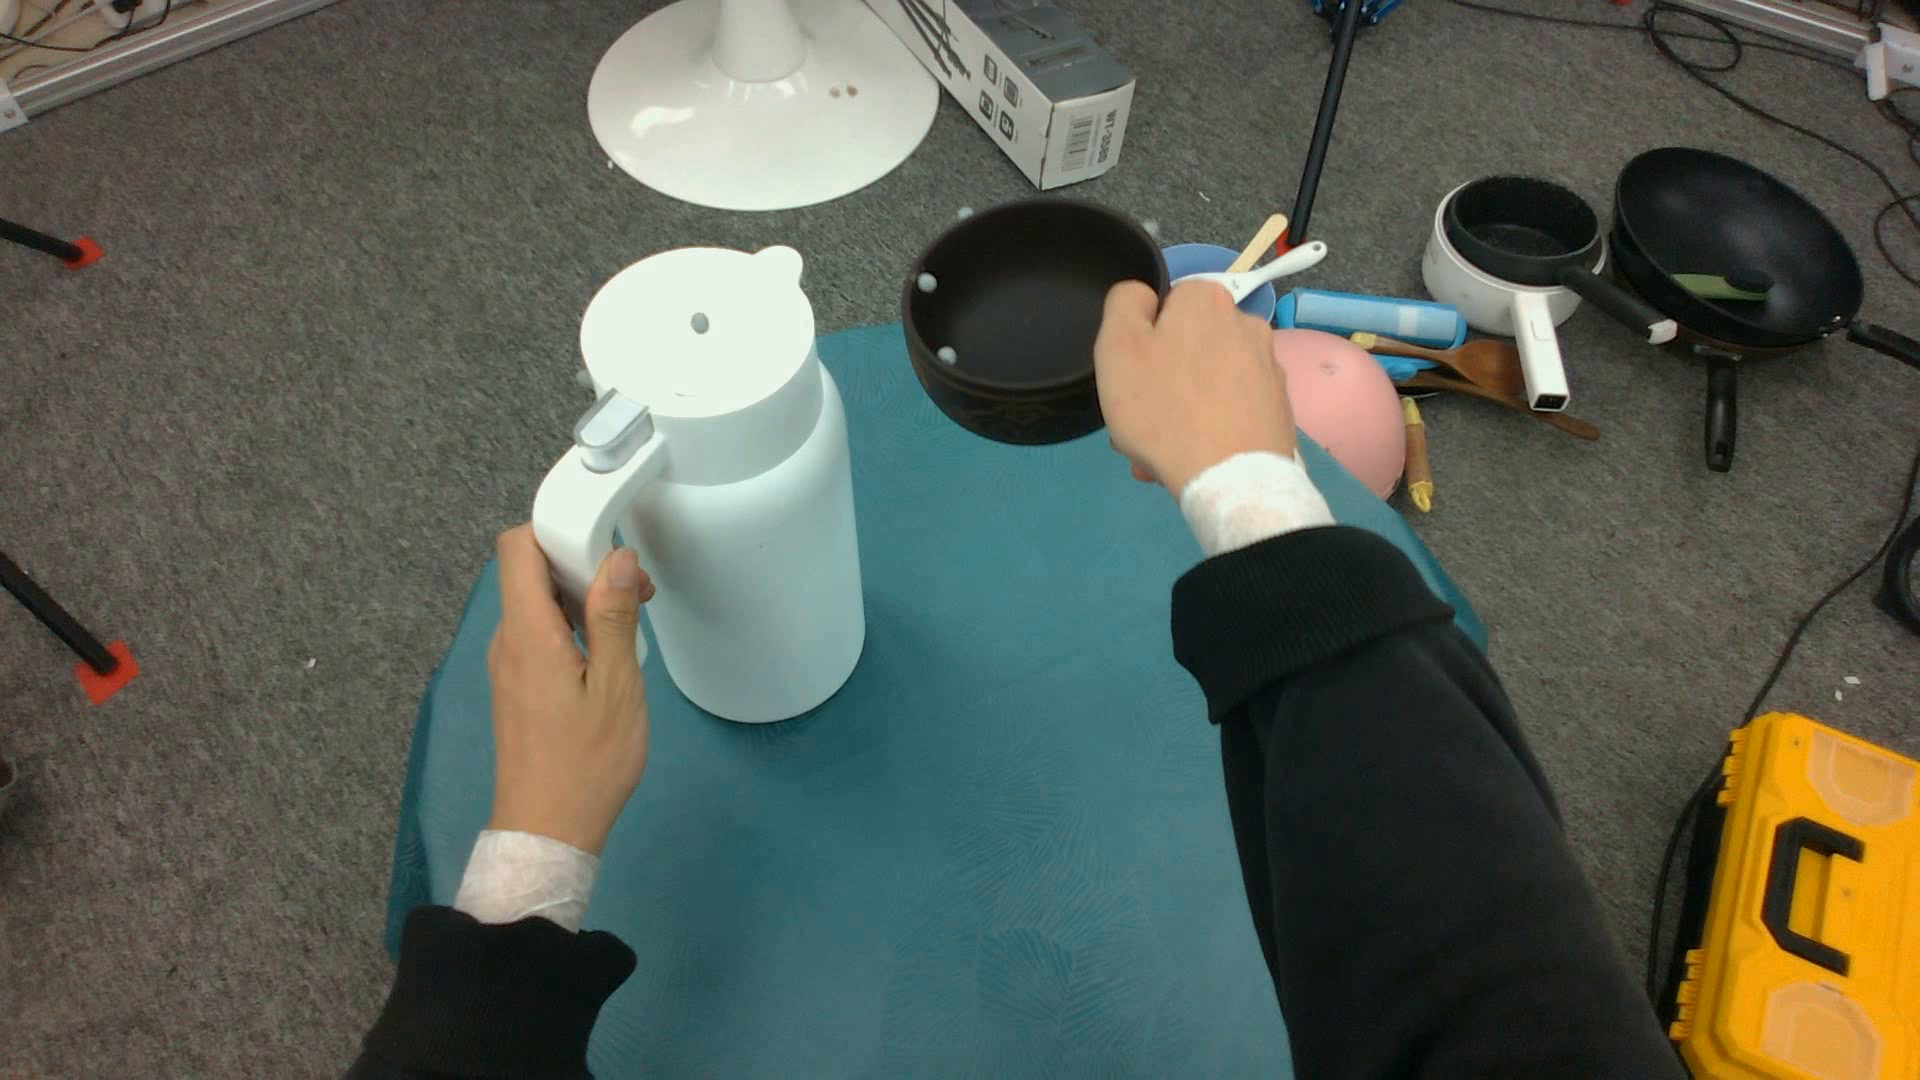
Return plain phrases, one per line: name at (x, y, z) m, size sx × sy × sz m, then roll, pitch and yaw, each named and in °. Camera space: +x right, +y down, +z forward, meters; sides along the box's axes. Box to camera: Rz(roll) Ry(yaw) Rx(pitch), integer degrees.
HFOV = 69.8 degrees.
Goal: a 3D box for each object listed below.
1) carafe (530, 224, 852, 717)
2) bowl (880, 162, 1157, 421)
carafe at (-0.125, -0.008, 0.685) m, size 0.124 × 0.267 × 0.173 m, roll 26°, pitch 59°, yaw 13°
bowl at (0.028, -0.101, 0.604) m, size 0.118 × 0.069 × 0.118 m, roll -4°, pitch 57°, yaw 7°
